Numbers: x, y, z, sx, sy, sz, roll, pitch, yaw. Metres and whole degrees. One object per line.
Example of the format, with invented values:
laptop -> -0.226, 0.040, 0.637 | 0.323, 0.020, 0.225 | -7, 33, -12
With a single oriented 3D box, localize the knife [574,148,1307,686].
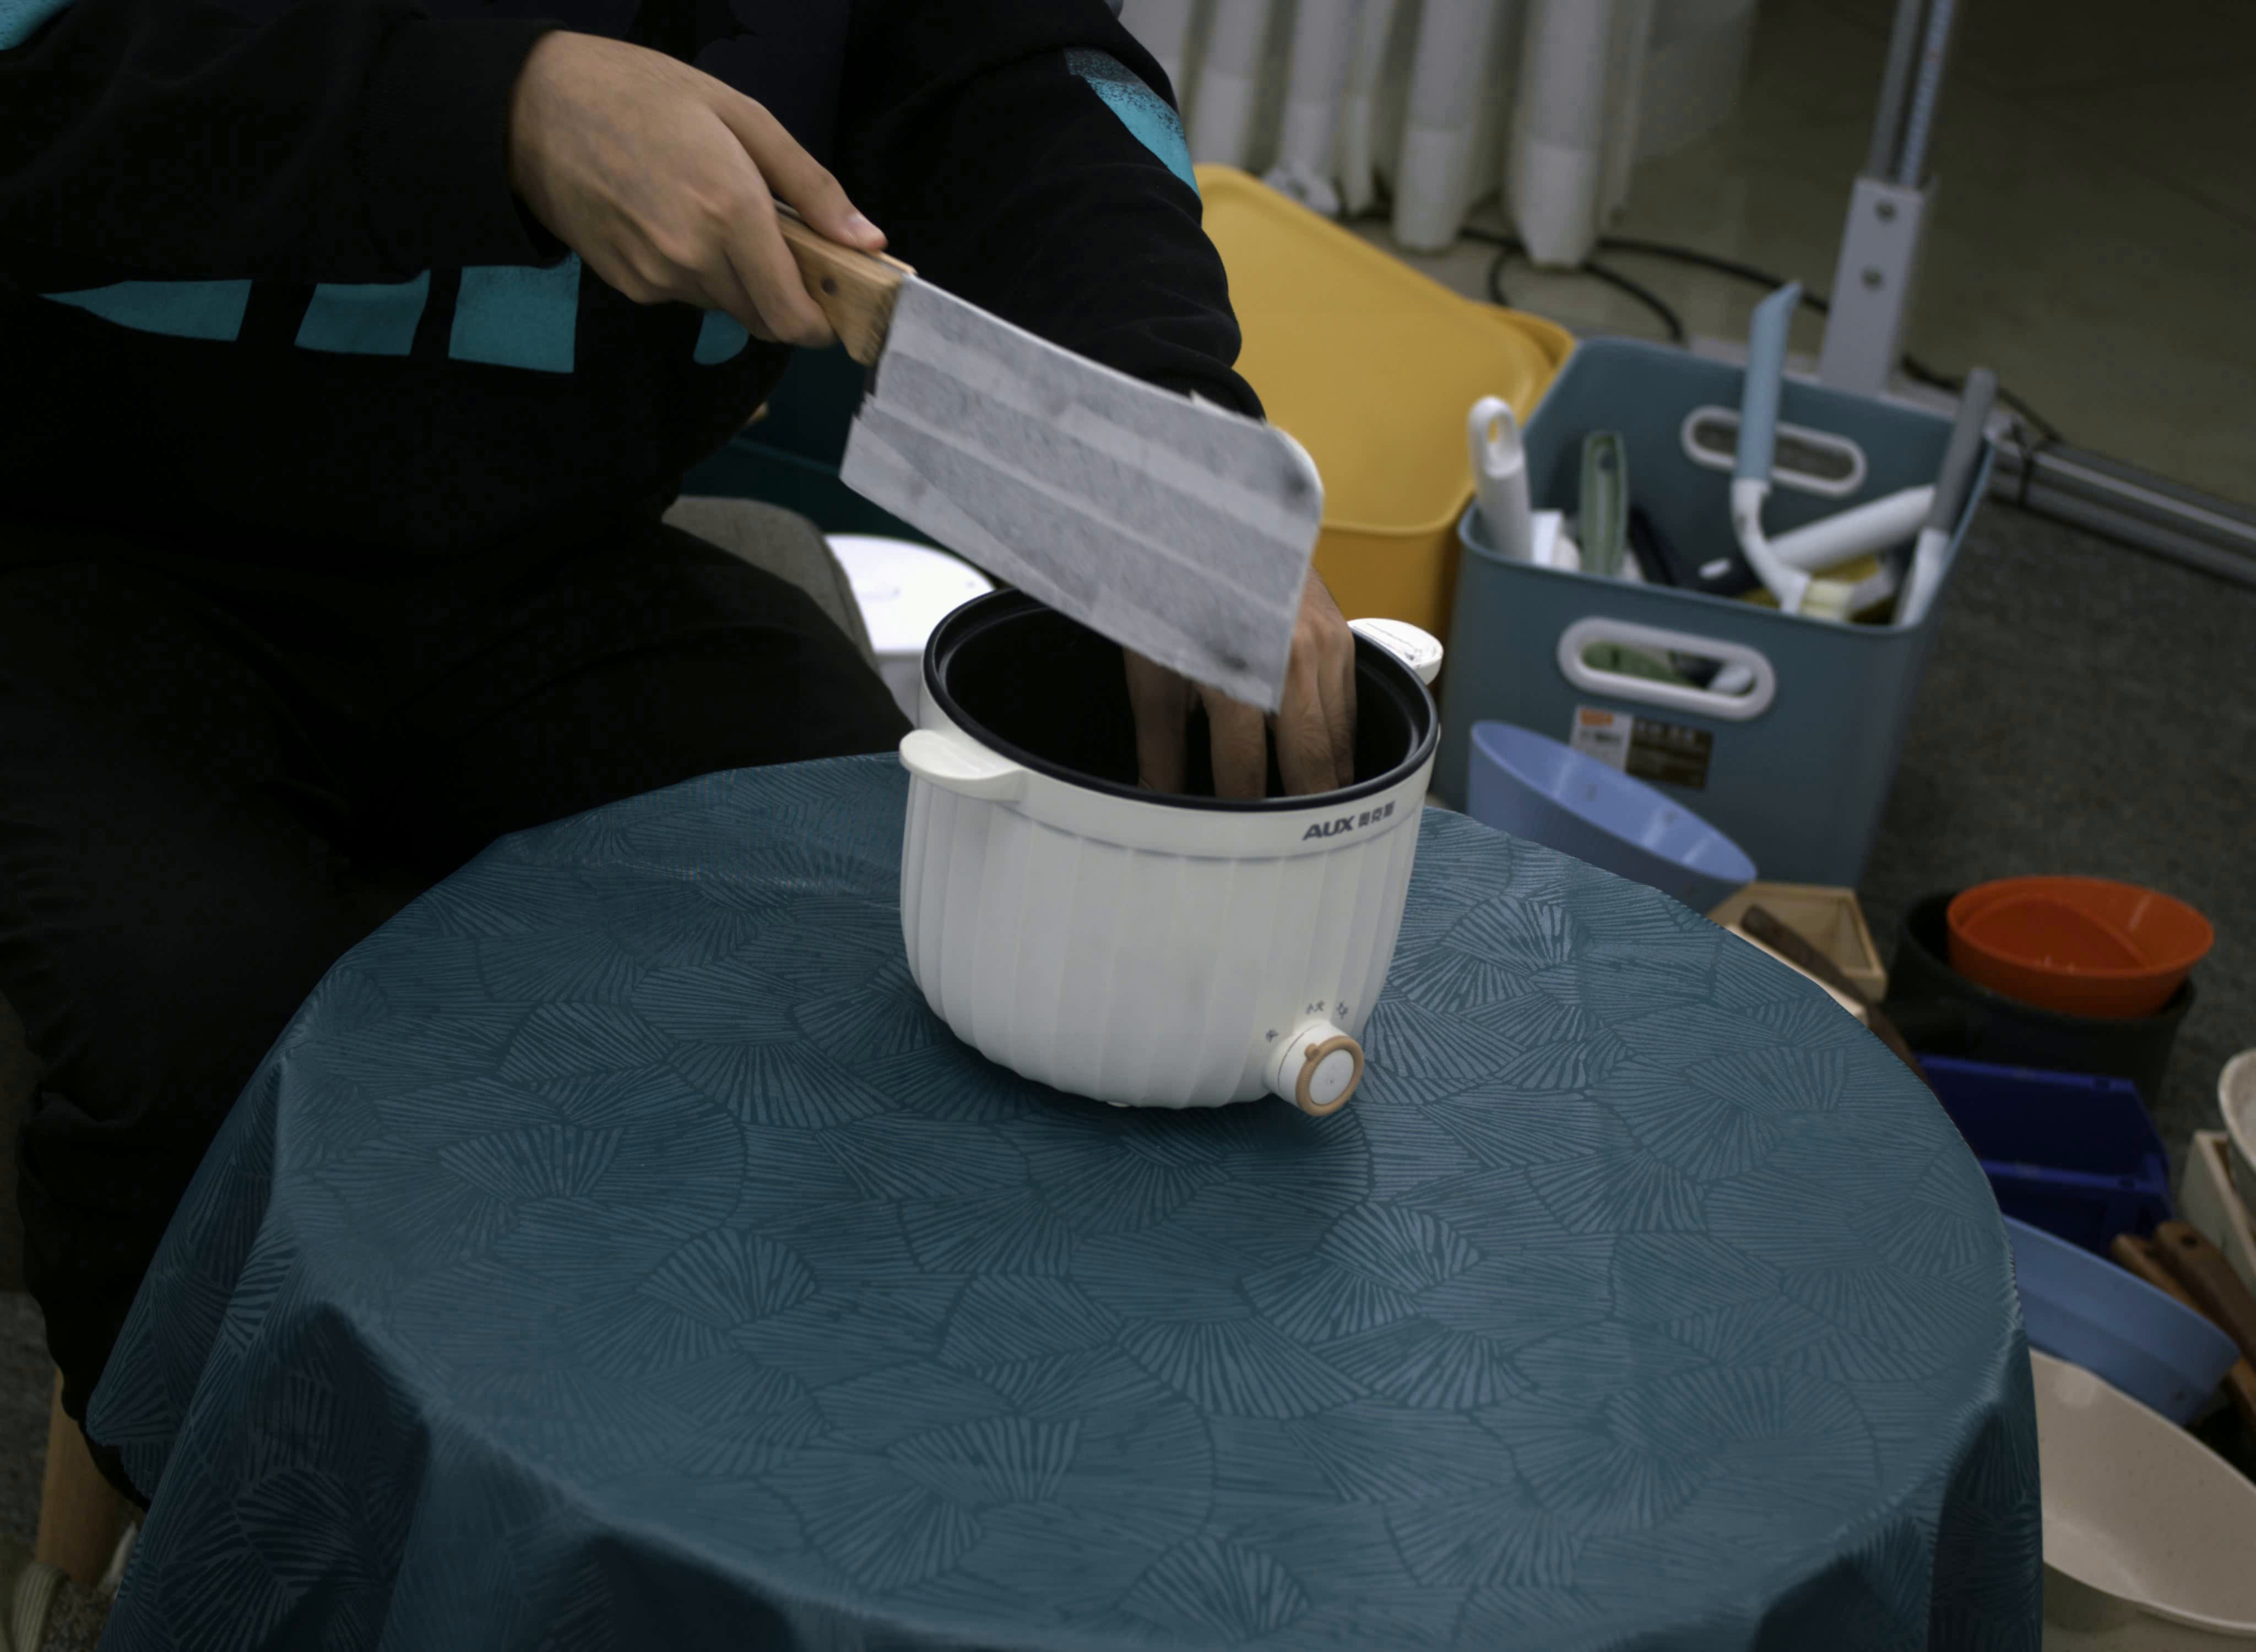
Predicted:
knife -> -0.066, -0.154, 1.838 | 0.317, 0.113, 0.021 | 31, 32, 21

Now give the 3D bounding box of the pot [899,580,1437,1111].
pot -> 0.014, 0.011, 1.871 | 0.239, 0.142, 0.192 | -16, 31, -38
